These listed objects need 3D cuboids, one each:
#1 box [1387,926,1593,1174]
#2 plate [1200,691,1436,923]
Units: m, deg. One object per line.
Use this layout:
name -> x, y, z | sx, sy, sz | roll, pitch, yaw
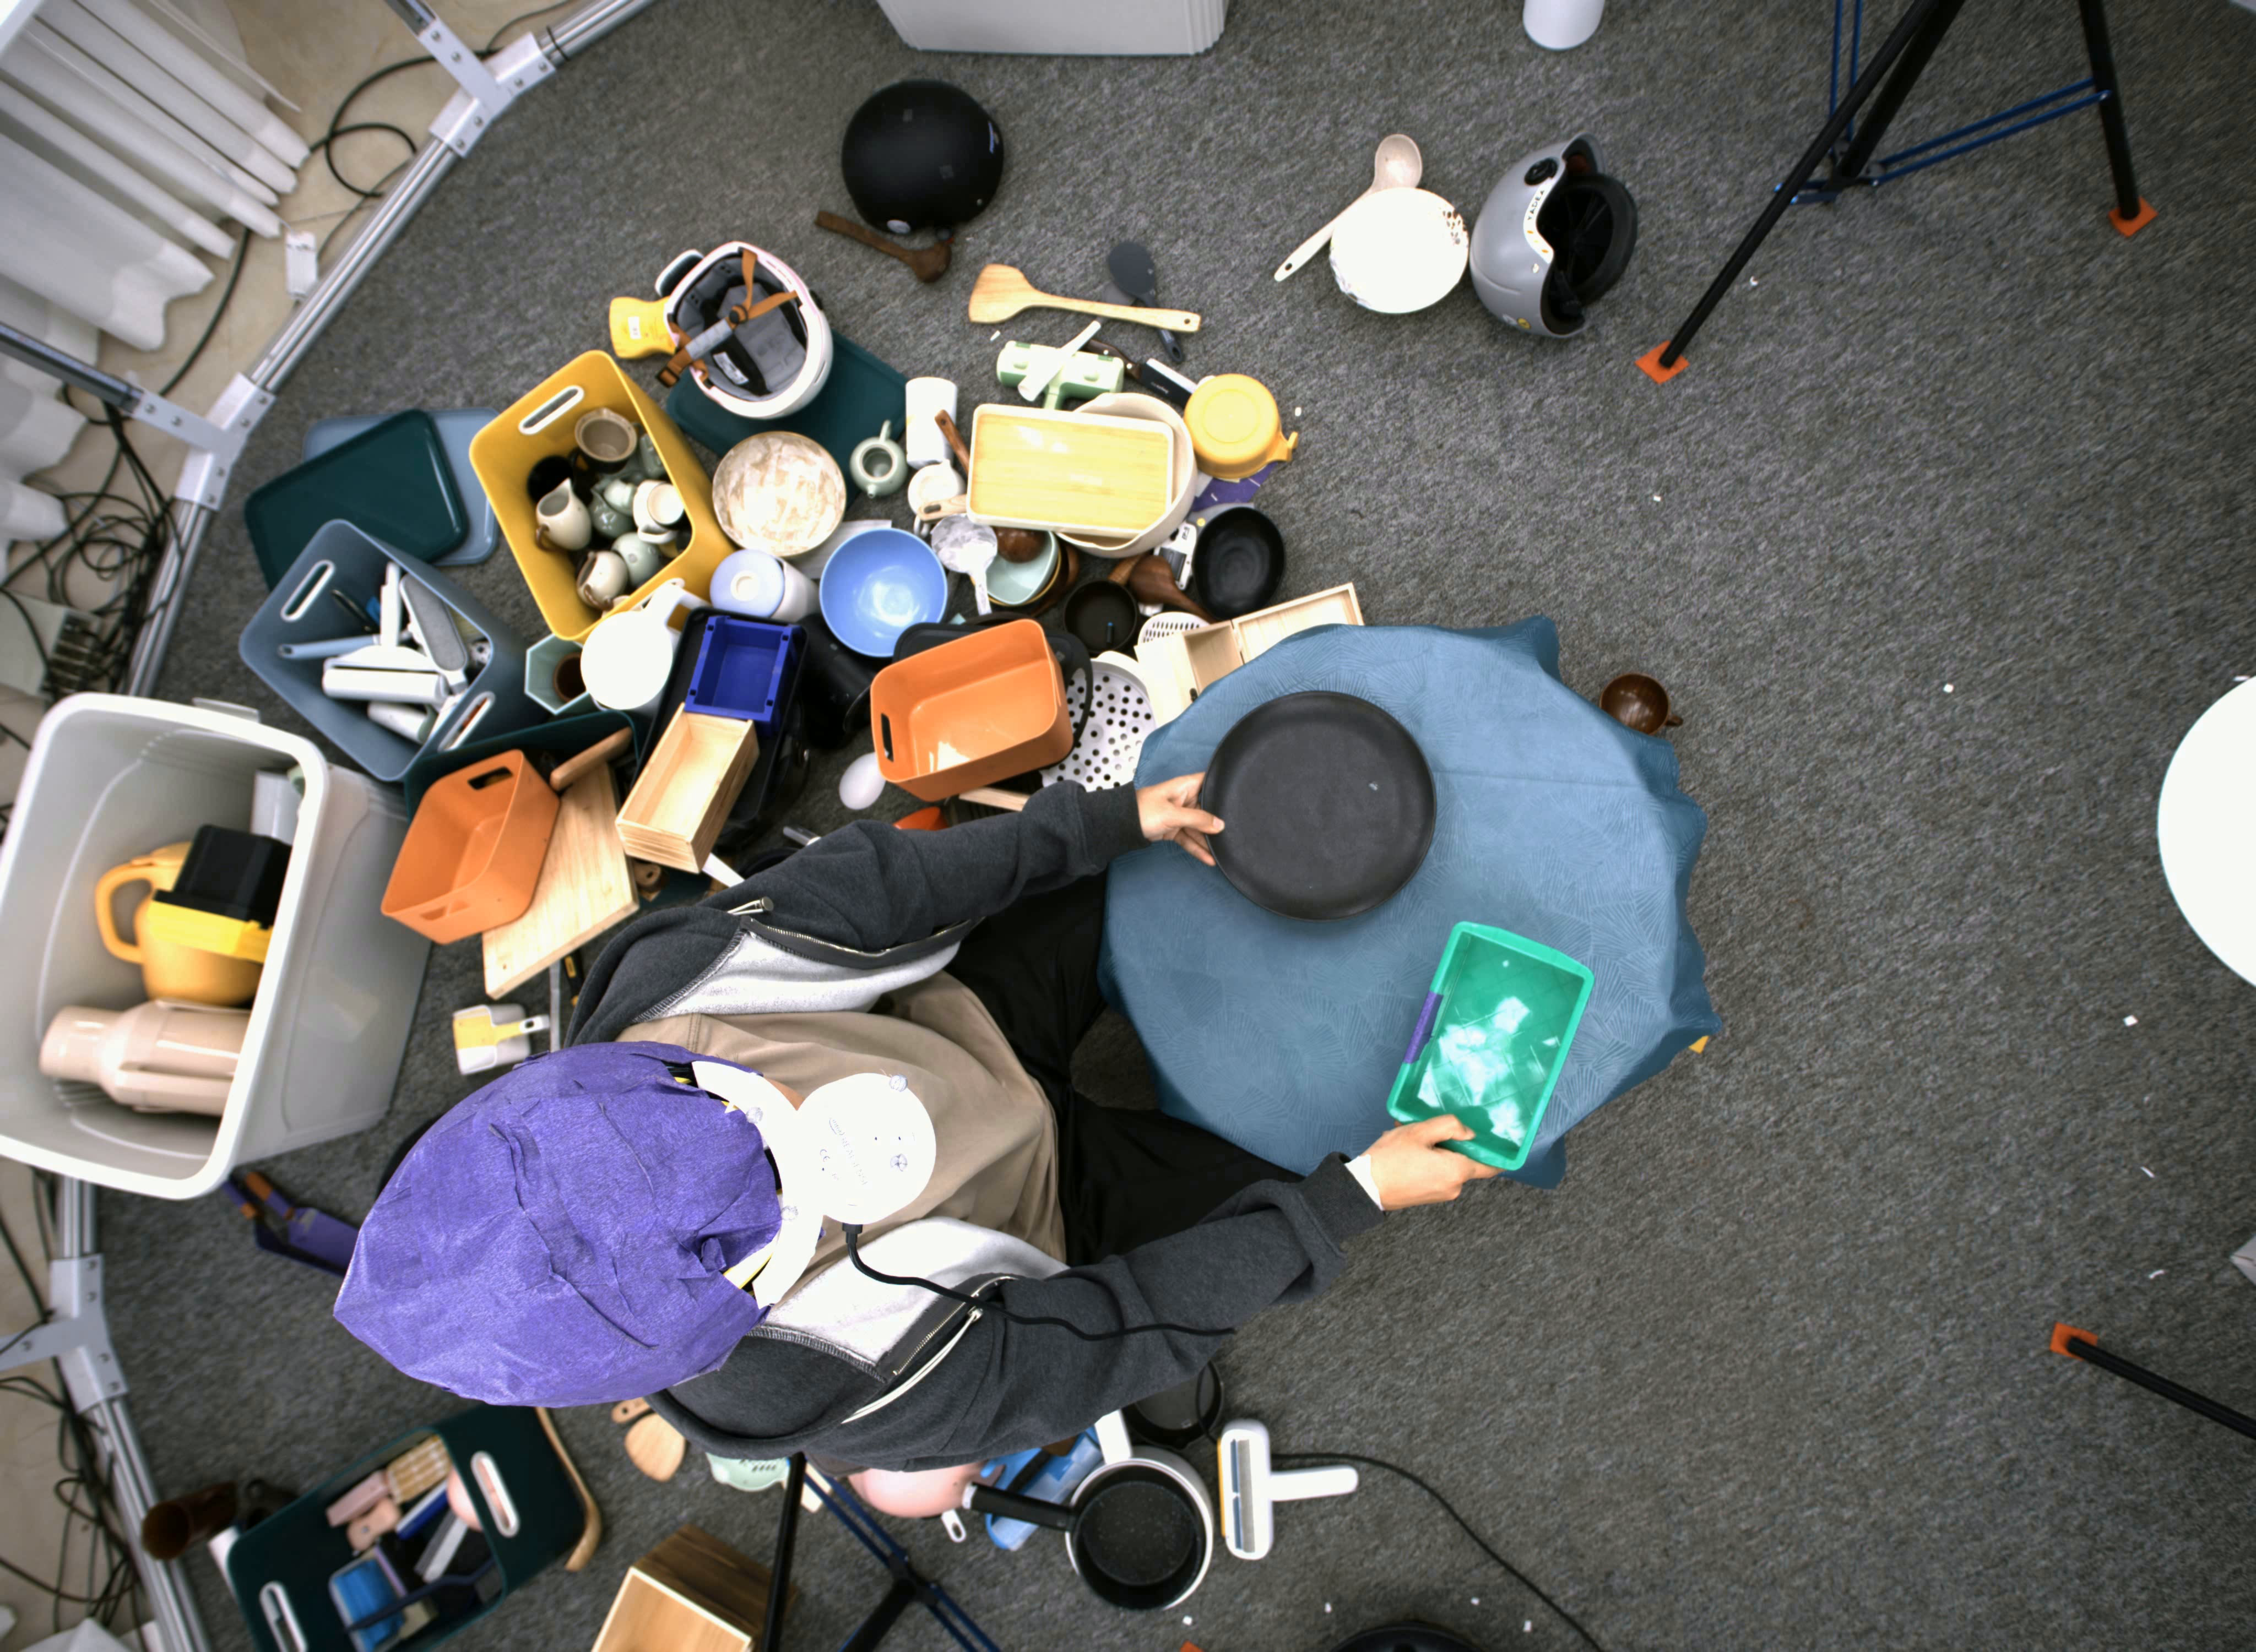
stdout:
box -> 0.347, 0.207, 1.310 | 0.138, 0.065, 0.212 | 22, 99, 25
plate -> 0.196, -0.021, 1.435 | 0.245, 0.023, 0.242 | -1, 84, 5
